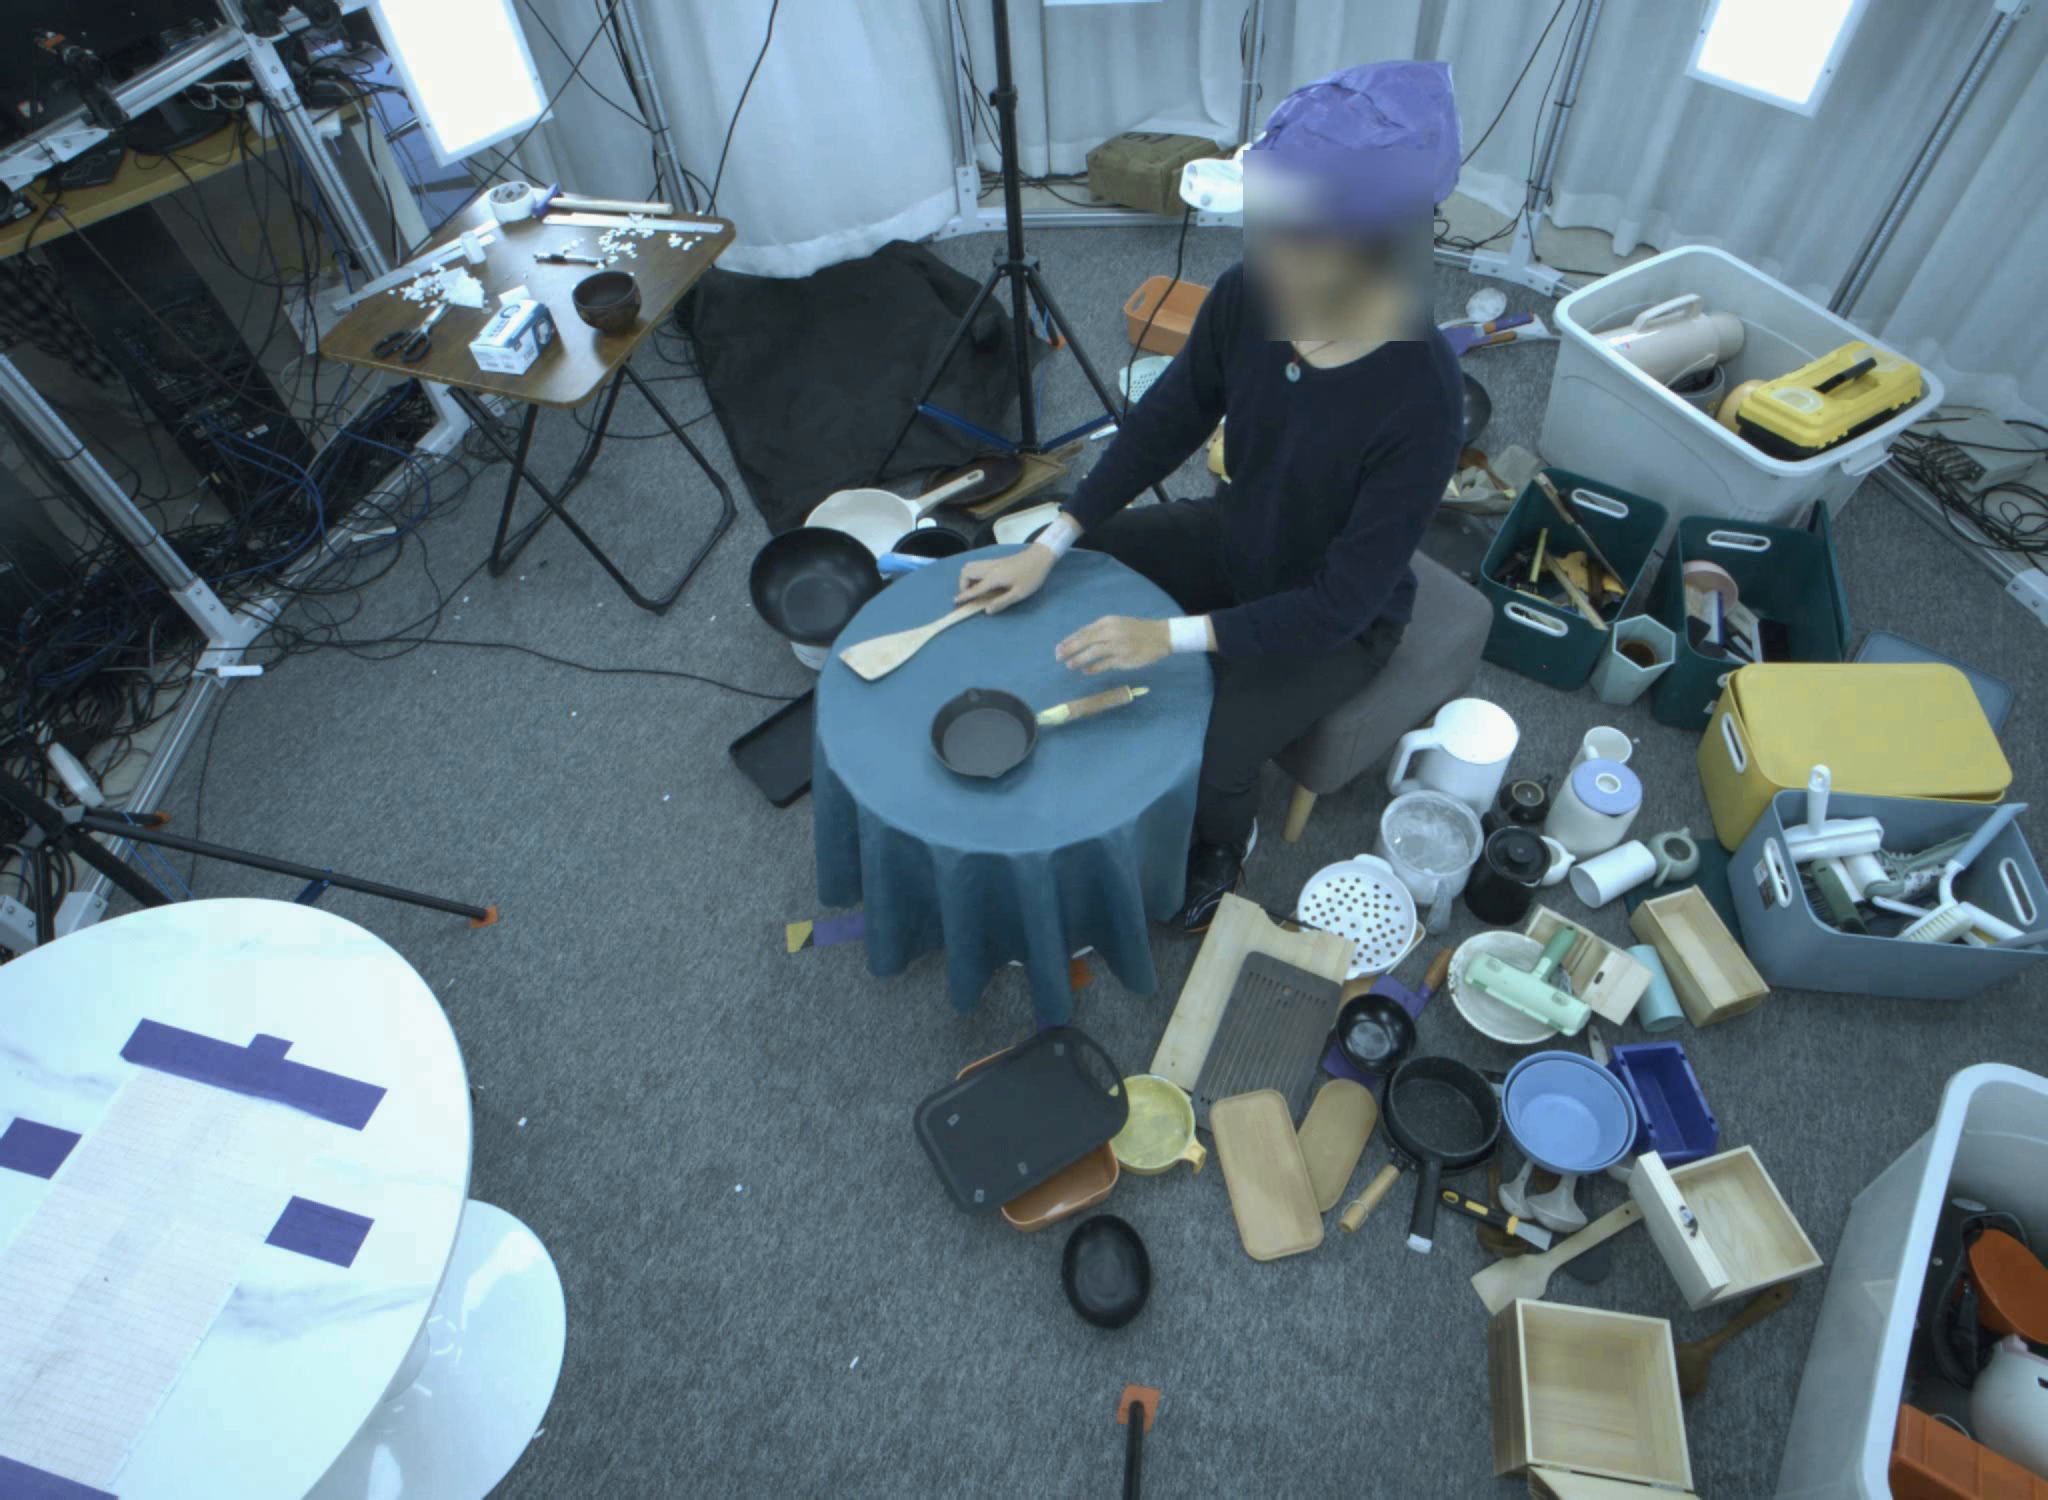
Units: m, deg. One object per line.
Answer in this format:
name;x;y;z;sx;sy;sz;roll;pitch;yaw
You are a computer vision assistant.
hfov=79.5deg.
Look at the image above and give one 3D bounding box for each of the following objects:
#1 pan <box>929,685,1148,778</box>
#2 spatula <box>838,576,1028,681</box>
pan;0.024;-0.042;1.785;0.325;0.050;0.166;-13;55;-5
spatula;-0.133;-0.198;1.922;0.330;0.017;0.078;-30;60;-17
